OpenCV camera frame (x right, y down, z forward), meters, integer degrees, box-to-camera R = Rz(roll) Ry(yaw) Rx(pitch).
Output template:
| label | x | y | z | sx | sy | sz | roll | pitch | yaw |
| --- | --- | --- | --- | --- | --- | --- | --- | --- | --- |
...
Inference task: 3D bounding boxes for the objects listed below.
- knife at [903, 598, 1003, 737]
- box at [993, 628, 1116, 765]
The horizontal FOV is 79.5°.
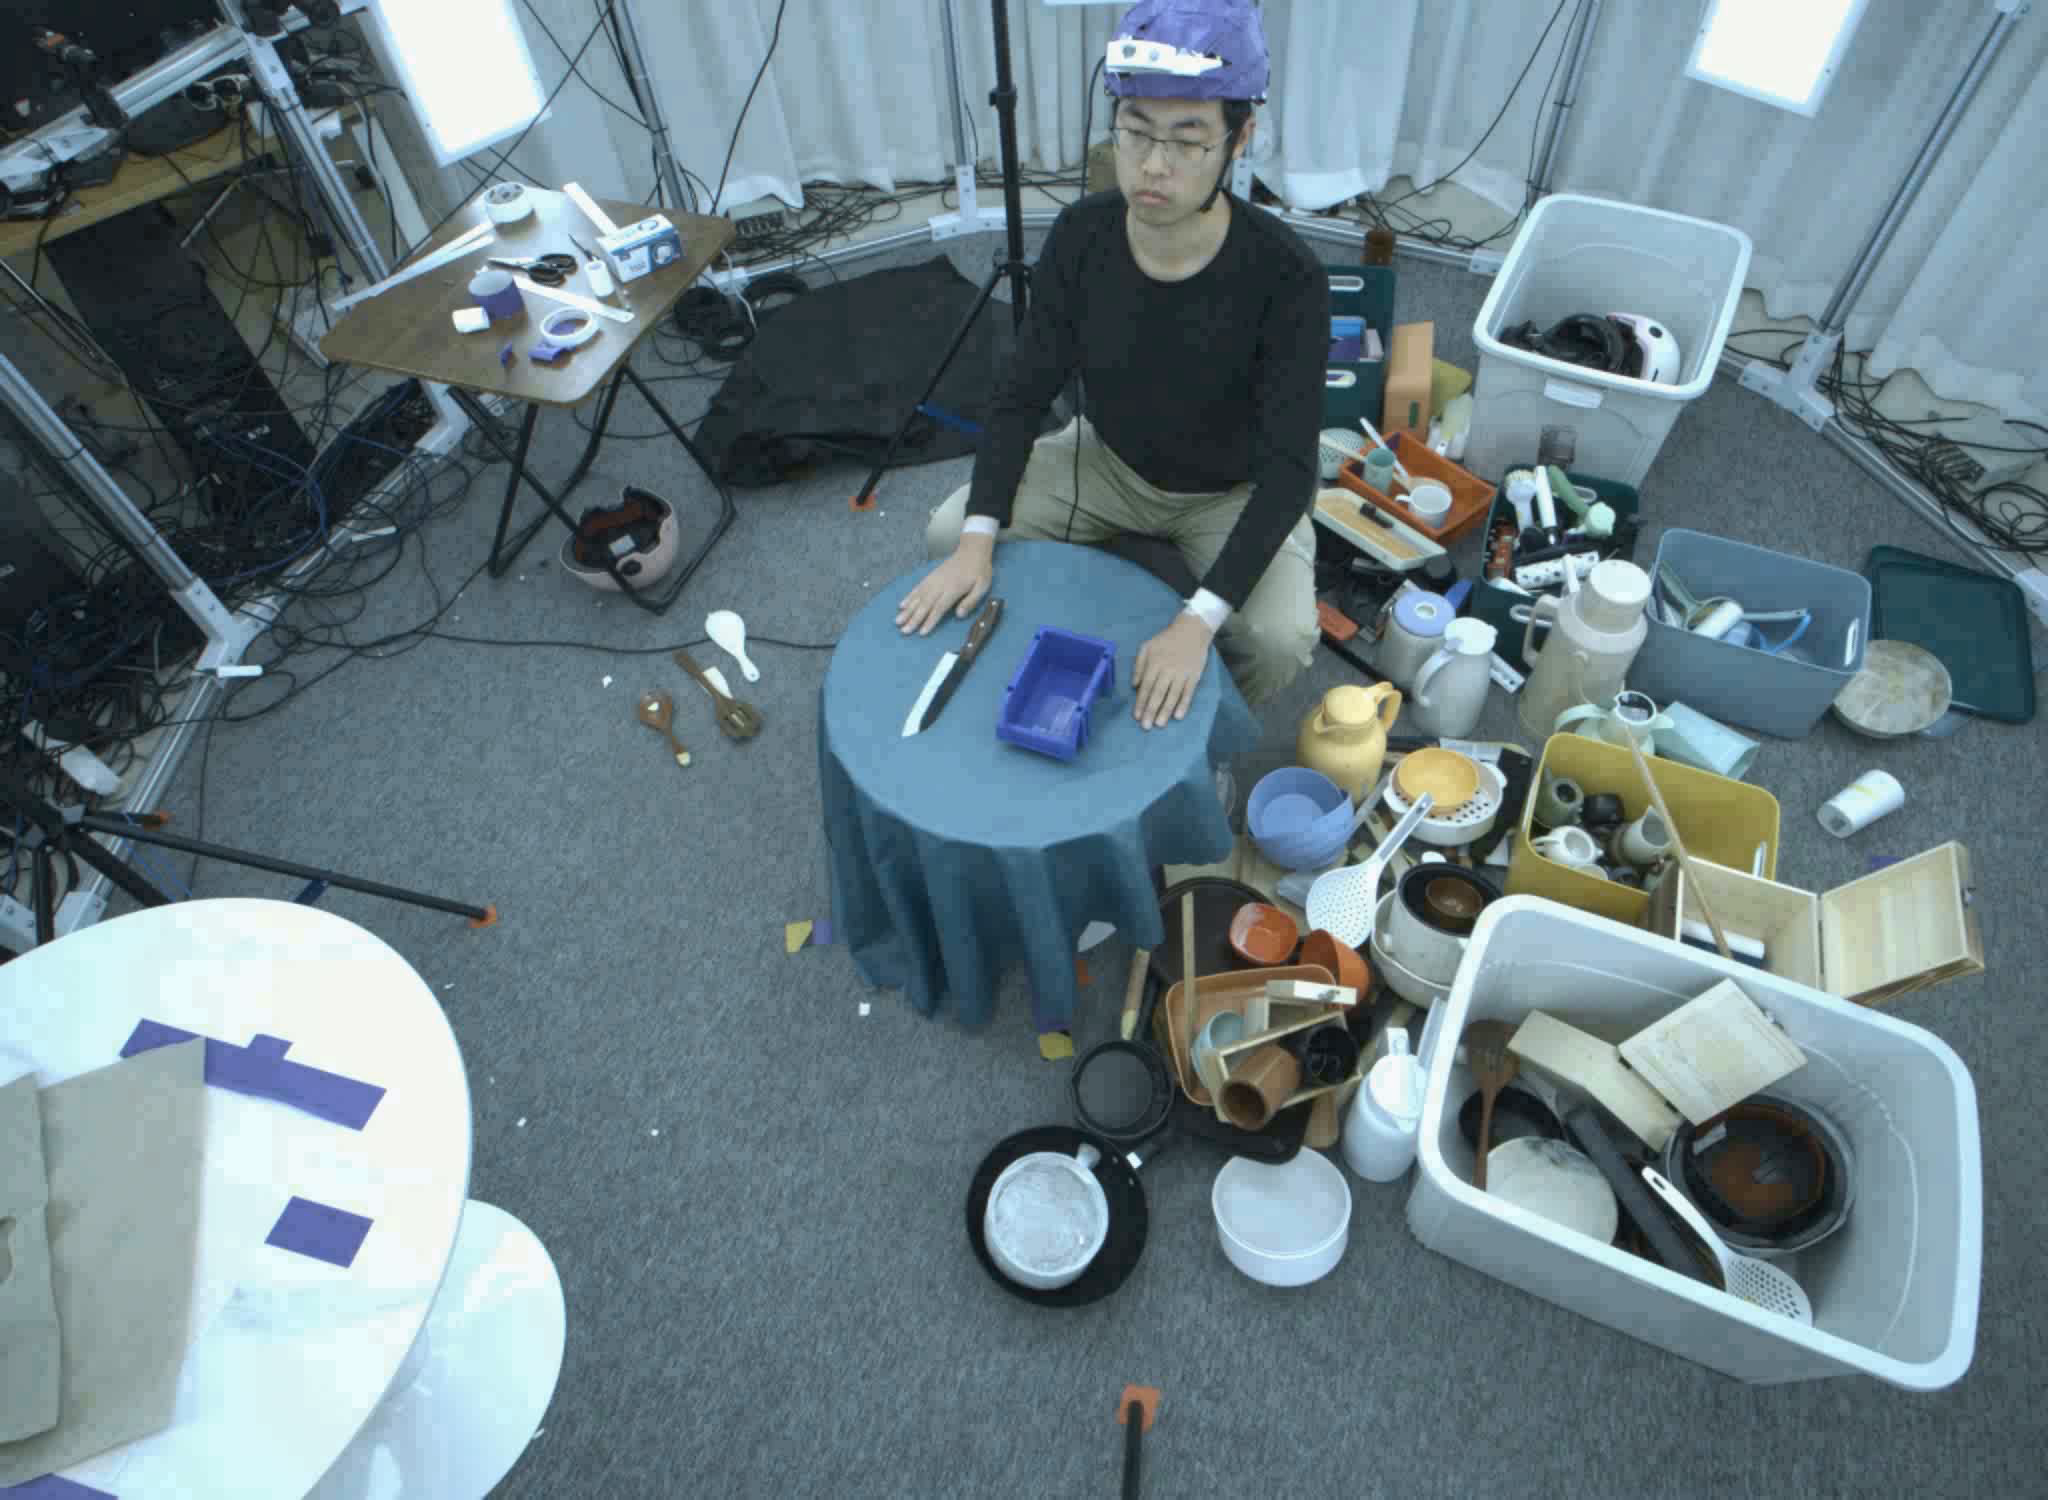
| label | x | y | z | sx | sy | sz | roll | pitch | yaw |
| --- | --- | --- | --- | --- | --- | --- | --- | --- | --- |
| knife | -0.107 | -0.128 | 1.873 | 0.049 | 0.020 | 0.289 | 20 | 60 | 21 |
| box | 0.046 | -0.074 | 1.788 | 0.123 | 0.083 | 0.179 | 19 | 55 | 15 |
